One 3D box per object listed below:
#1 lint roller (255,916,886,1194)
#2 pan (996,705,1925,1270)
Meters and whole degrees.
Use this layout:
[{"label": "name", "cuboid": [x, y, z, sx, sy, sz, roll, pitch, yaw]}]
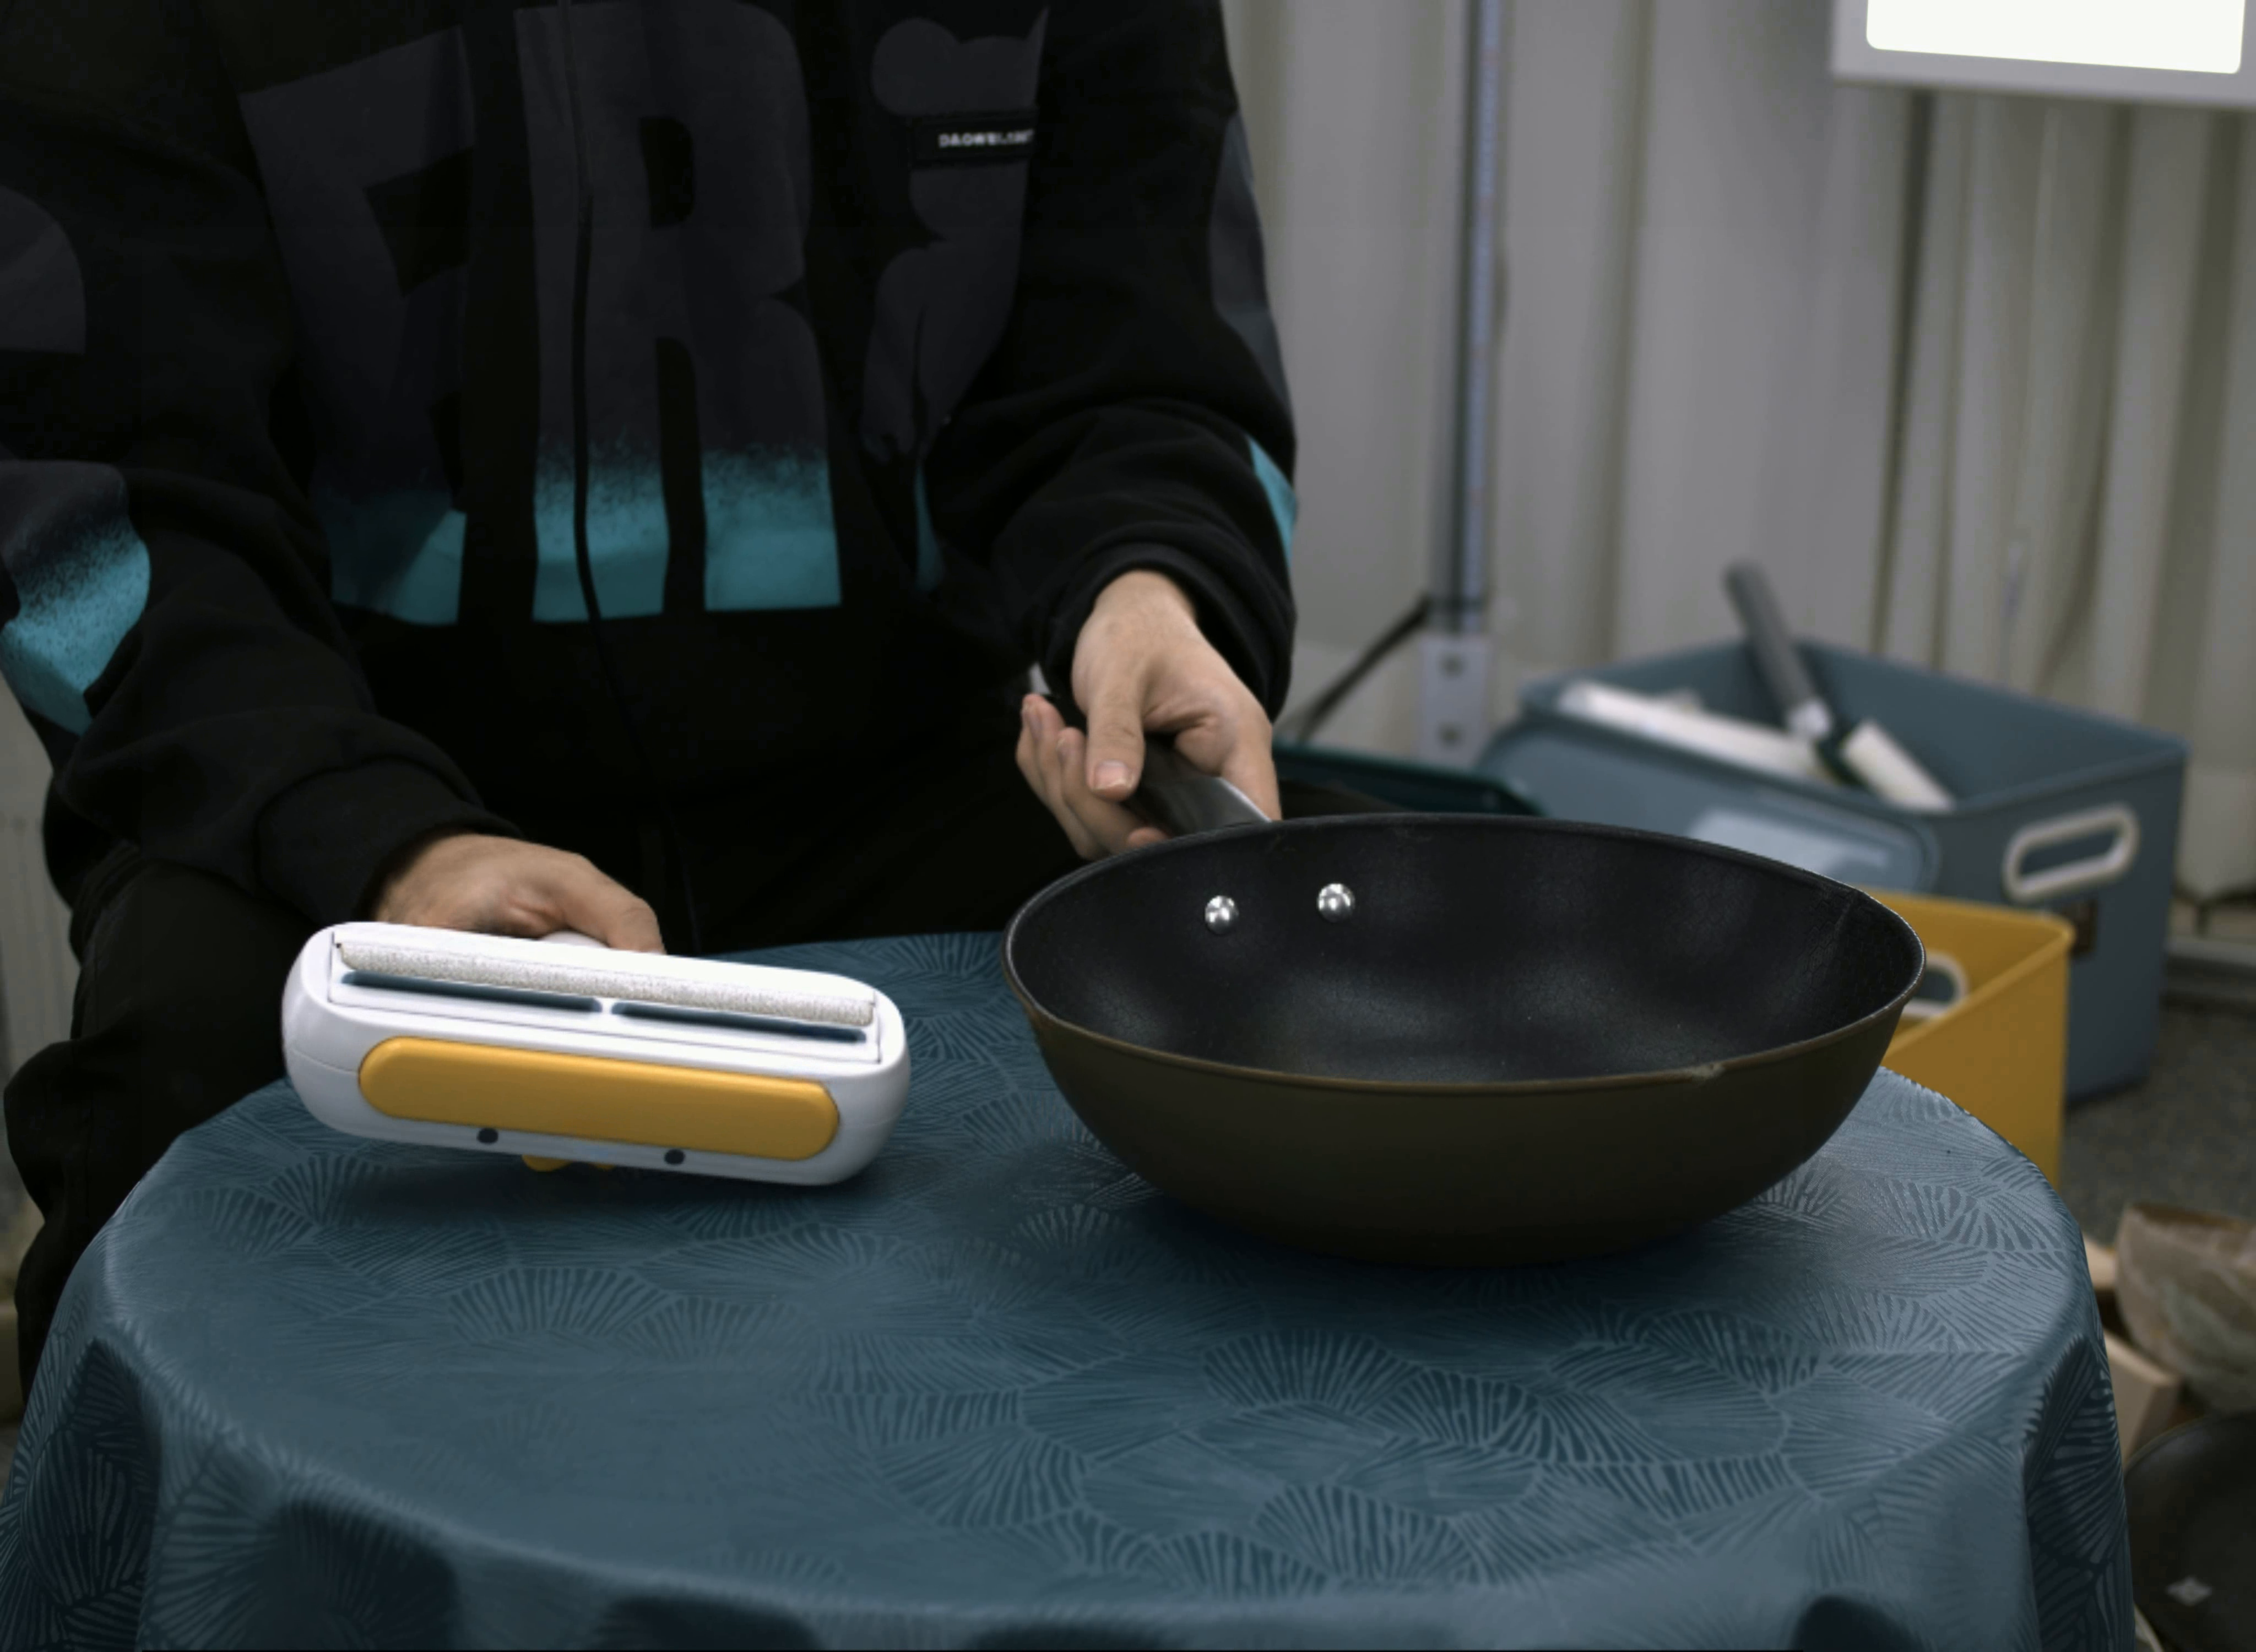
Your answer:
[{"label": "lint roller", "cuboid": [-0.174, 0.056, 1.666, 0.192, 0.075, 0.191, 5, 21, -6]}, {"label": "pan", "cuboid": [0.062, 0.050, 1.690, 0.289, 0.087, 0.458, -7, 17, -24]}]
